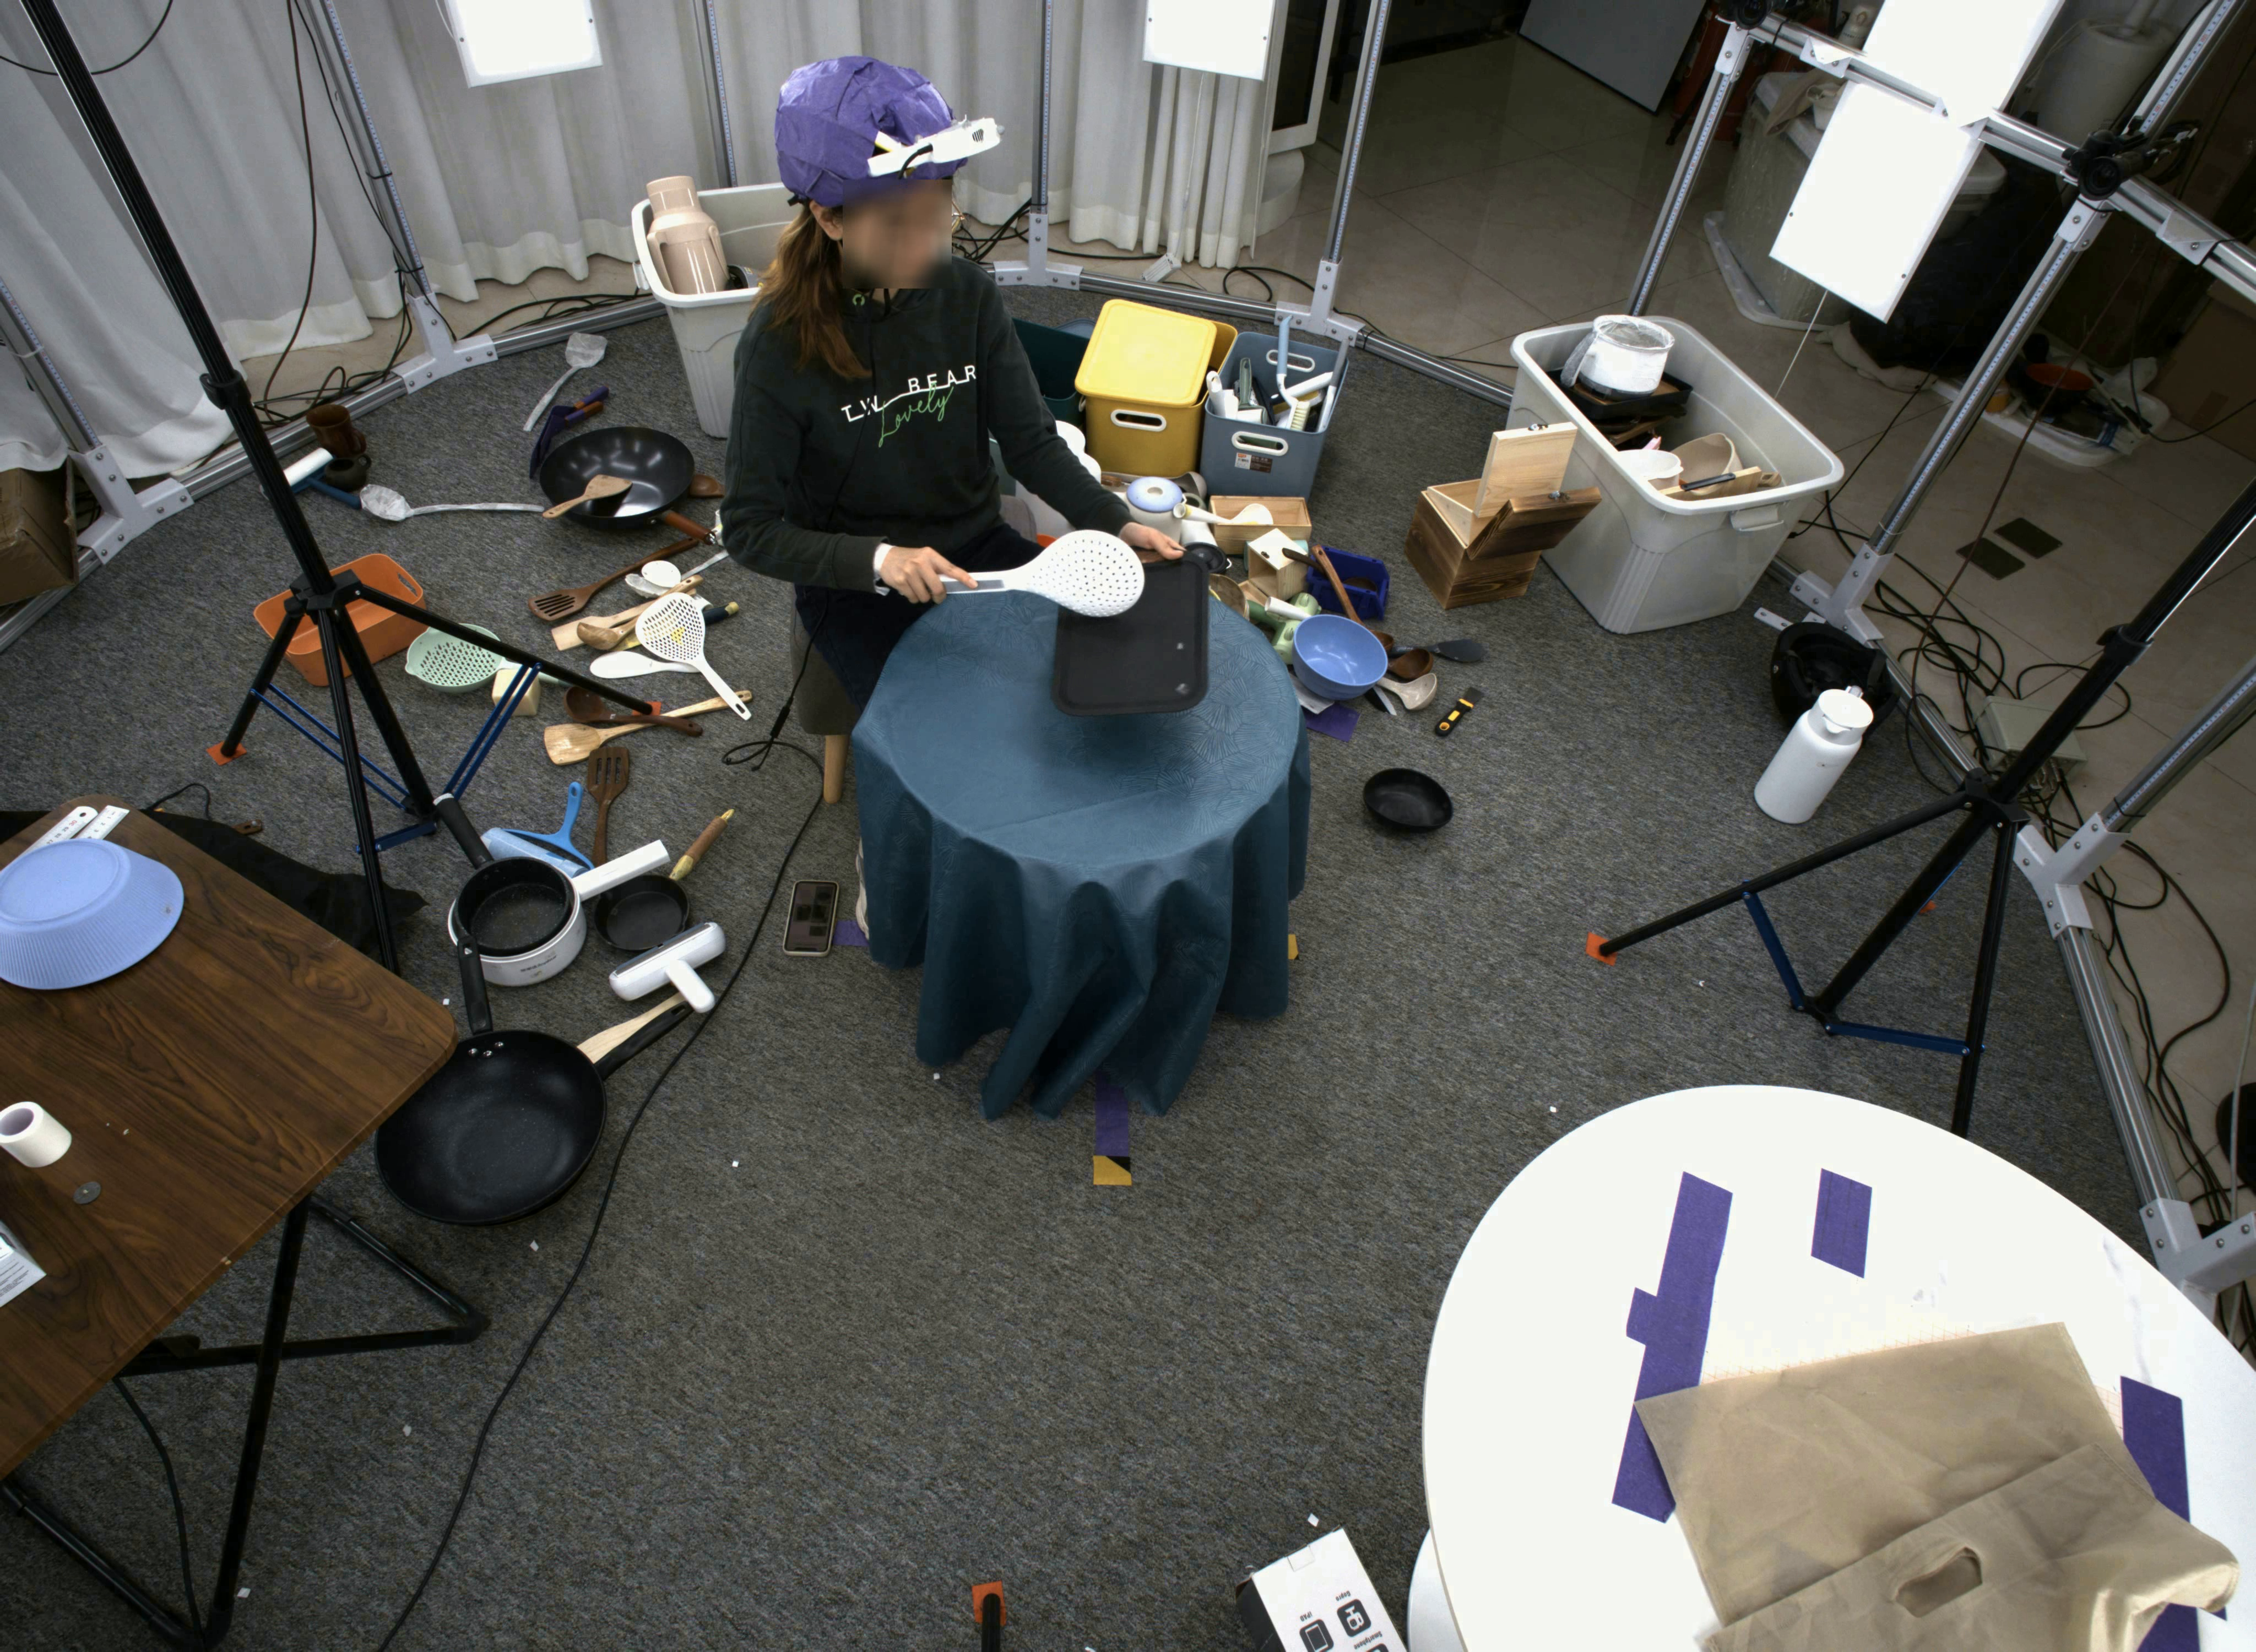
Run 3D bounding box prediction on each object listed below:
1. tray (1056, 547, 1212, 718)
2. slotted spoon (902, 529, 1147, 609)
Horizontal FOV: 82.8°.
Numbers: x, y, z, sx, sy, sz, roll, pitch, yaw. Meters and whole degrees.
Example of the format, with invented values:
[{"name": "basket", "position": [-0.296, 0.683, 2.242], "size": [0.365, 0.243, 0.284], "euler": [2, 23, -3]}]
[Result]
[{"name": "tray", "position": [0.010, -0.275, 1.769], "size": [0.211, 0.009, 0.333], "euler": [-3, 52, 7]}, {"name": "slotted spoon", "position": [-0.146, -0.334, 1.769], "size": [0.350, 0.133, 0.047], "euler": [-1, 50, 18]}]
